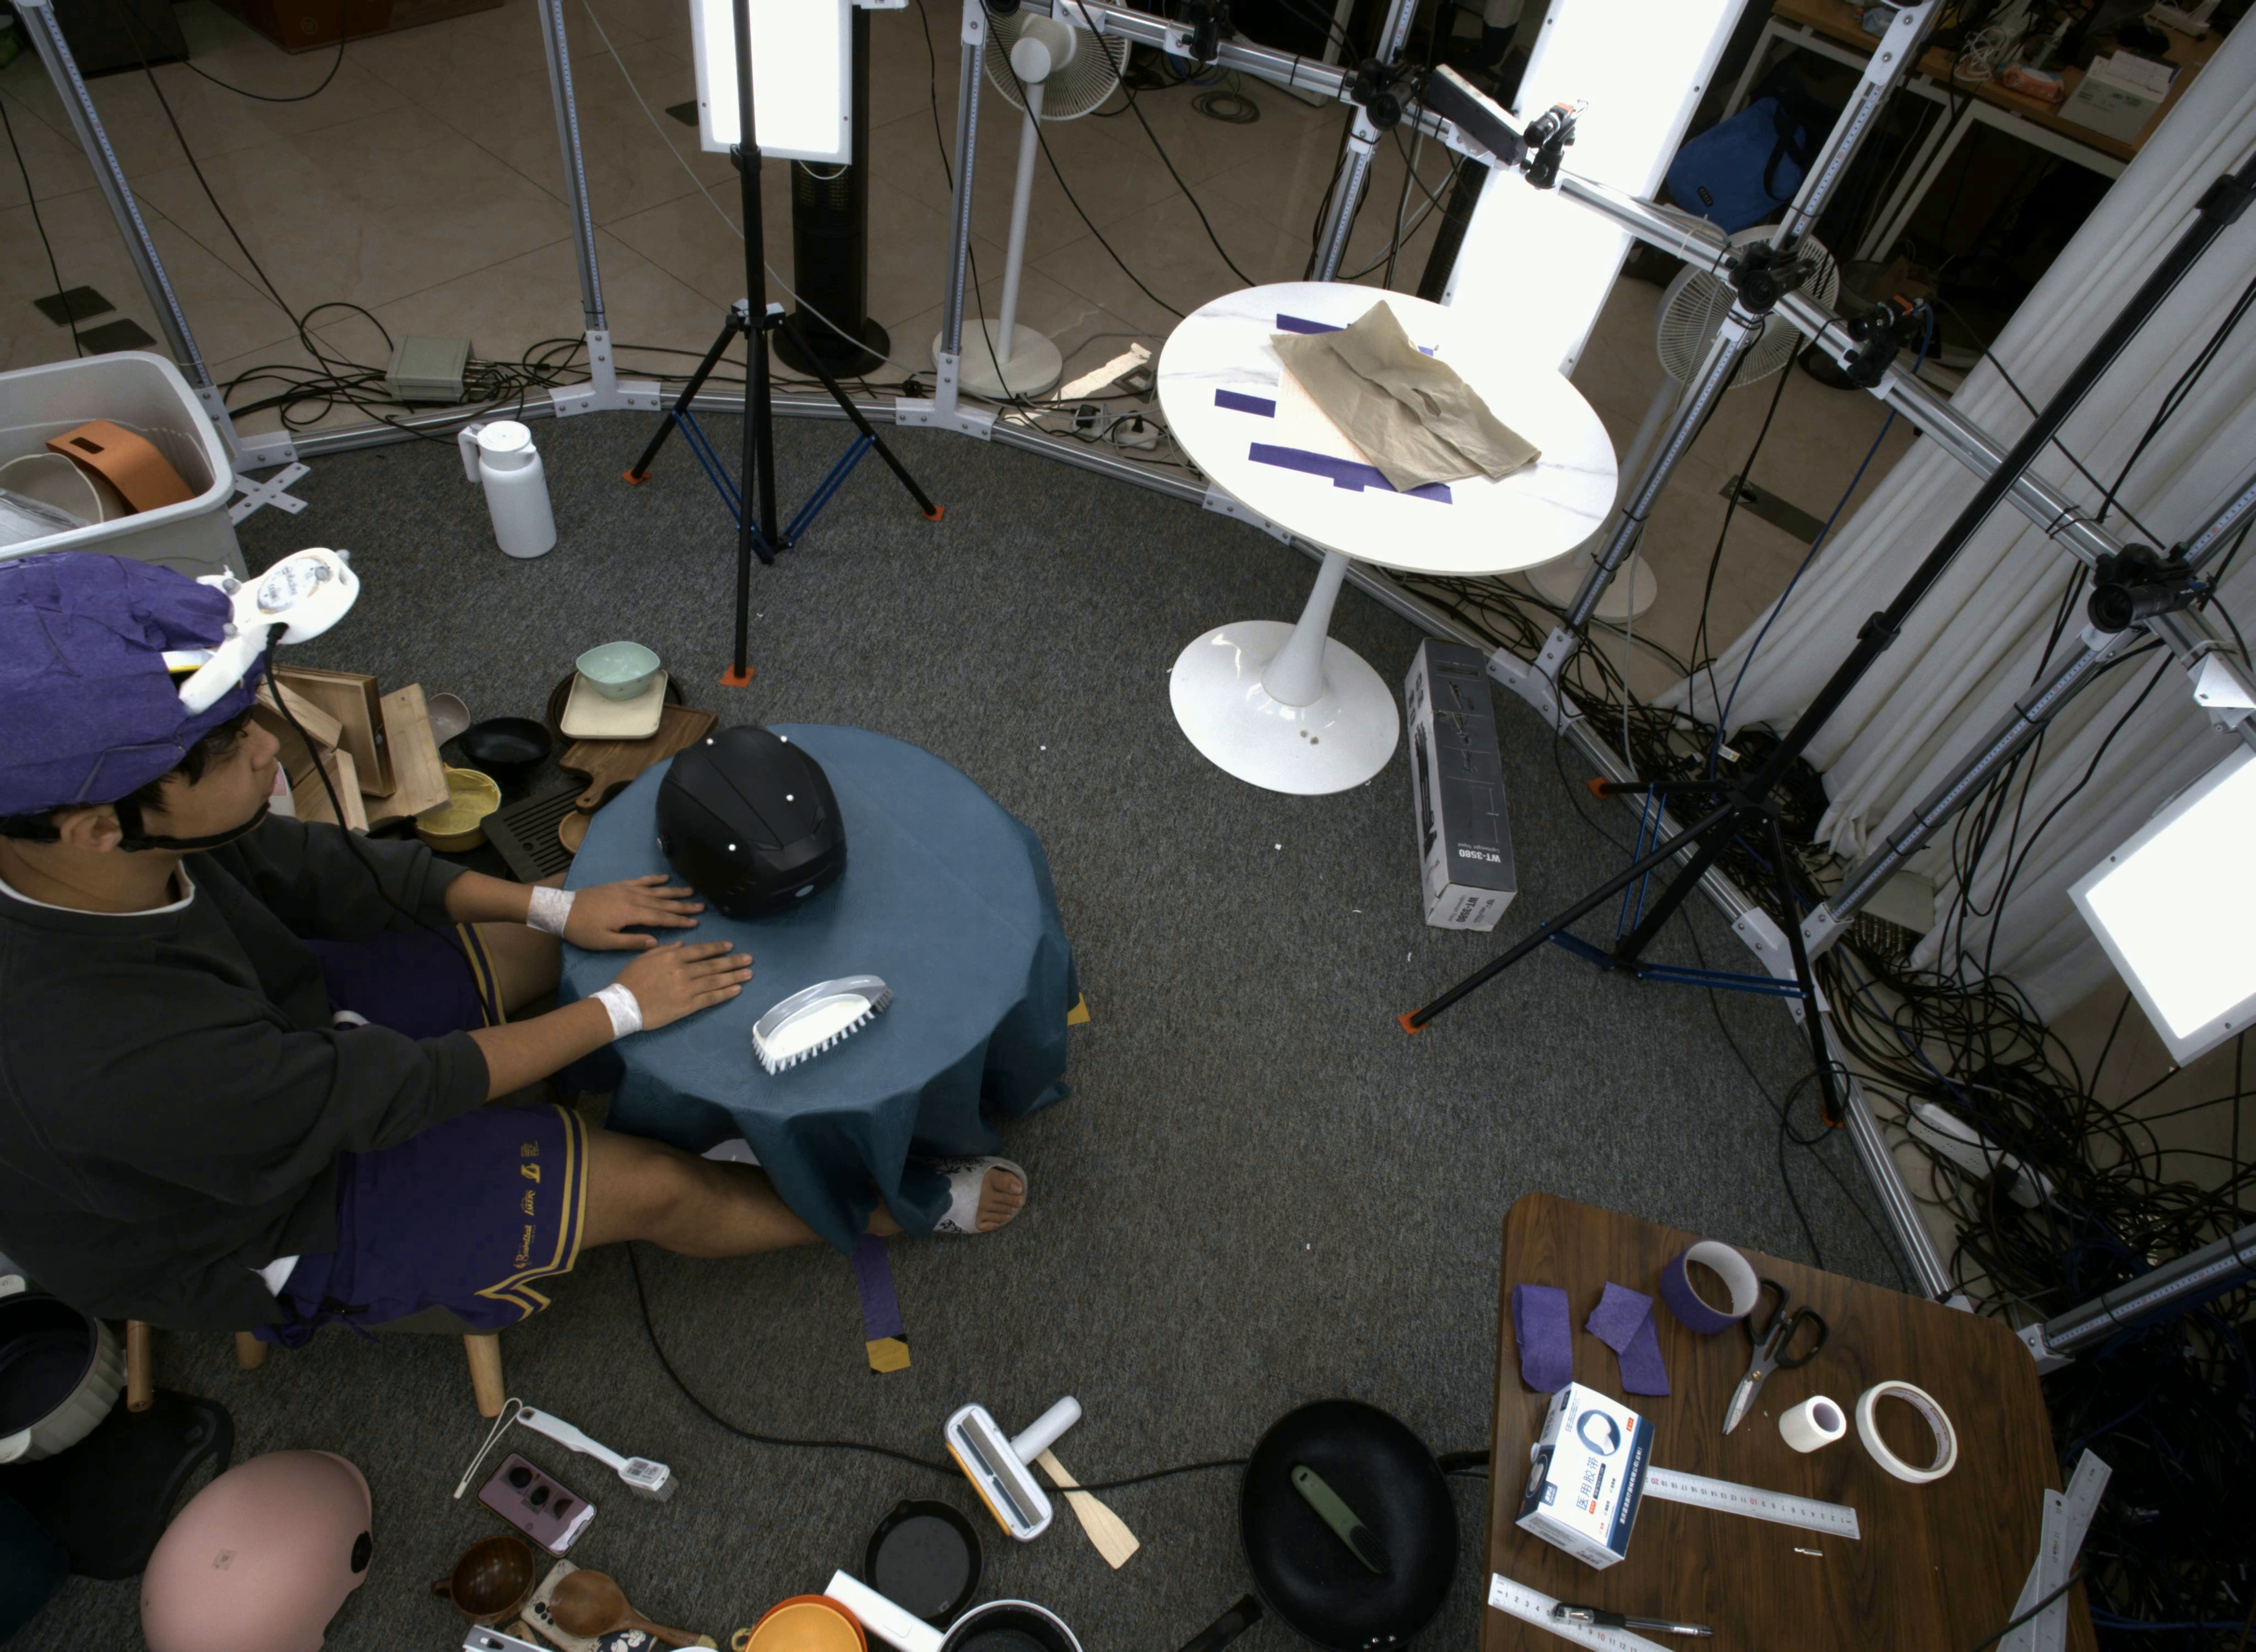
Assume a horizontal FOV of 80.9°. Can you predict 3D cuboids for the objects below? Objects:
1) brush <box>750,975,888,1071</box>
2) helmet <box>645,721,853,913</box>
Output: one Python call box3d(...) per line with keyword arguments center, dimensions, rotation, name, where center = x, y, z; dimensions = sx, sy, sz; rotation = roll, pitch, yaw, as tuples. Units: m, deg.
box3d(center=(-0.359, 0.211, 1.529), dimensions=(0.176, 0.096, 0.060), rotation=(-23, 62, -30), name="brush")
box3d(center=(-0.476, -0.028, 1.634), dimensions=(0.248, 0.175, 0.271), rotation=(-28, 68, -30), name="helmet")
